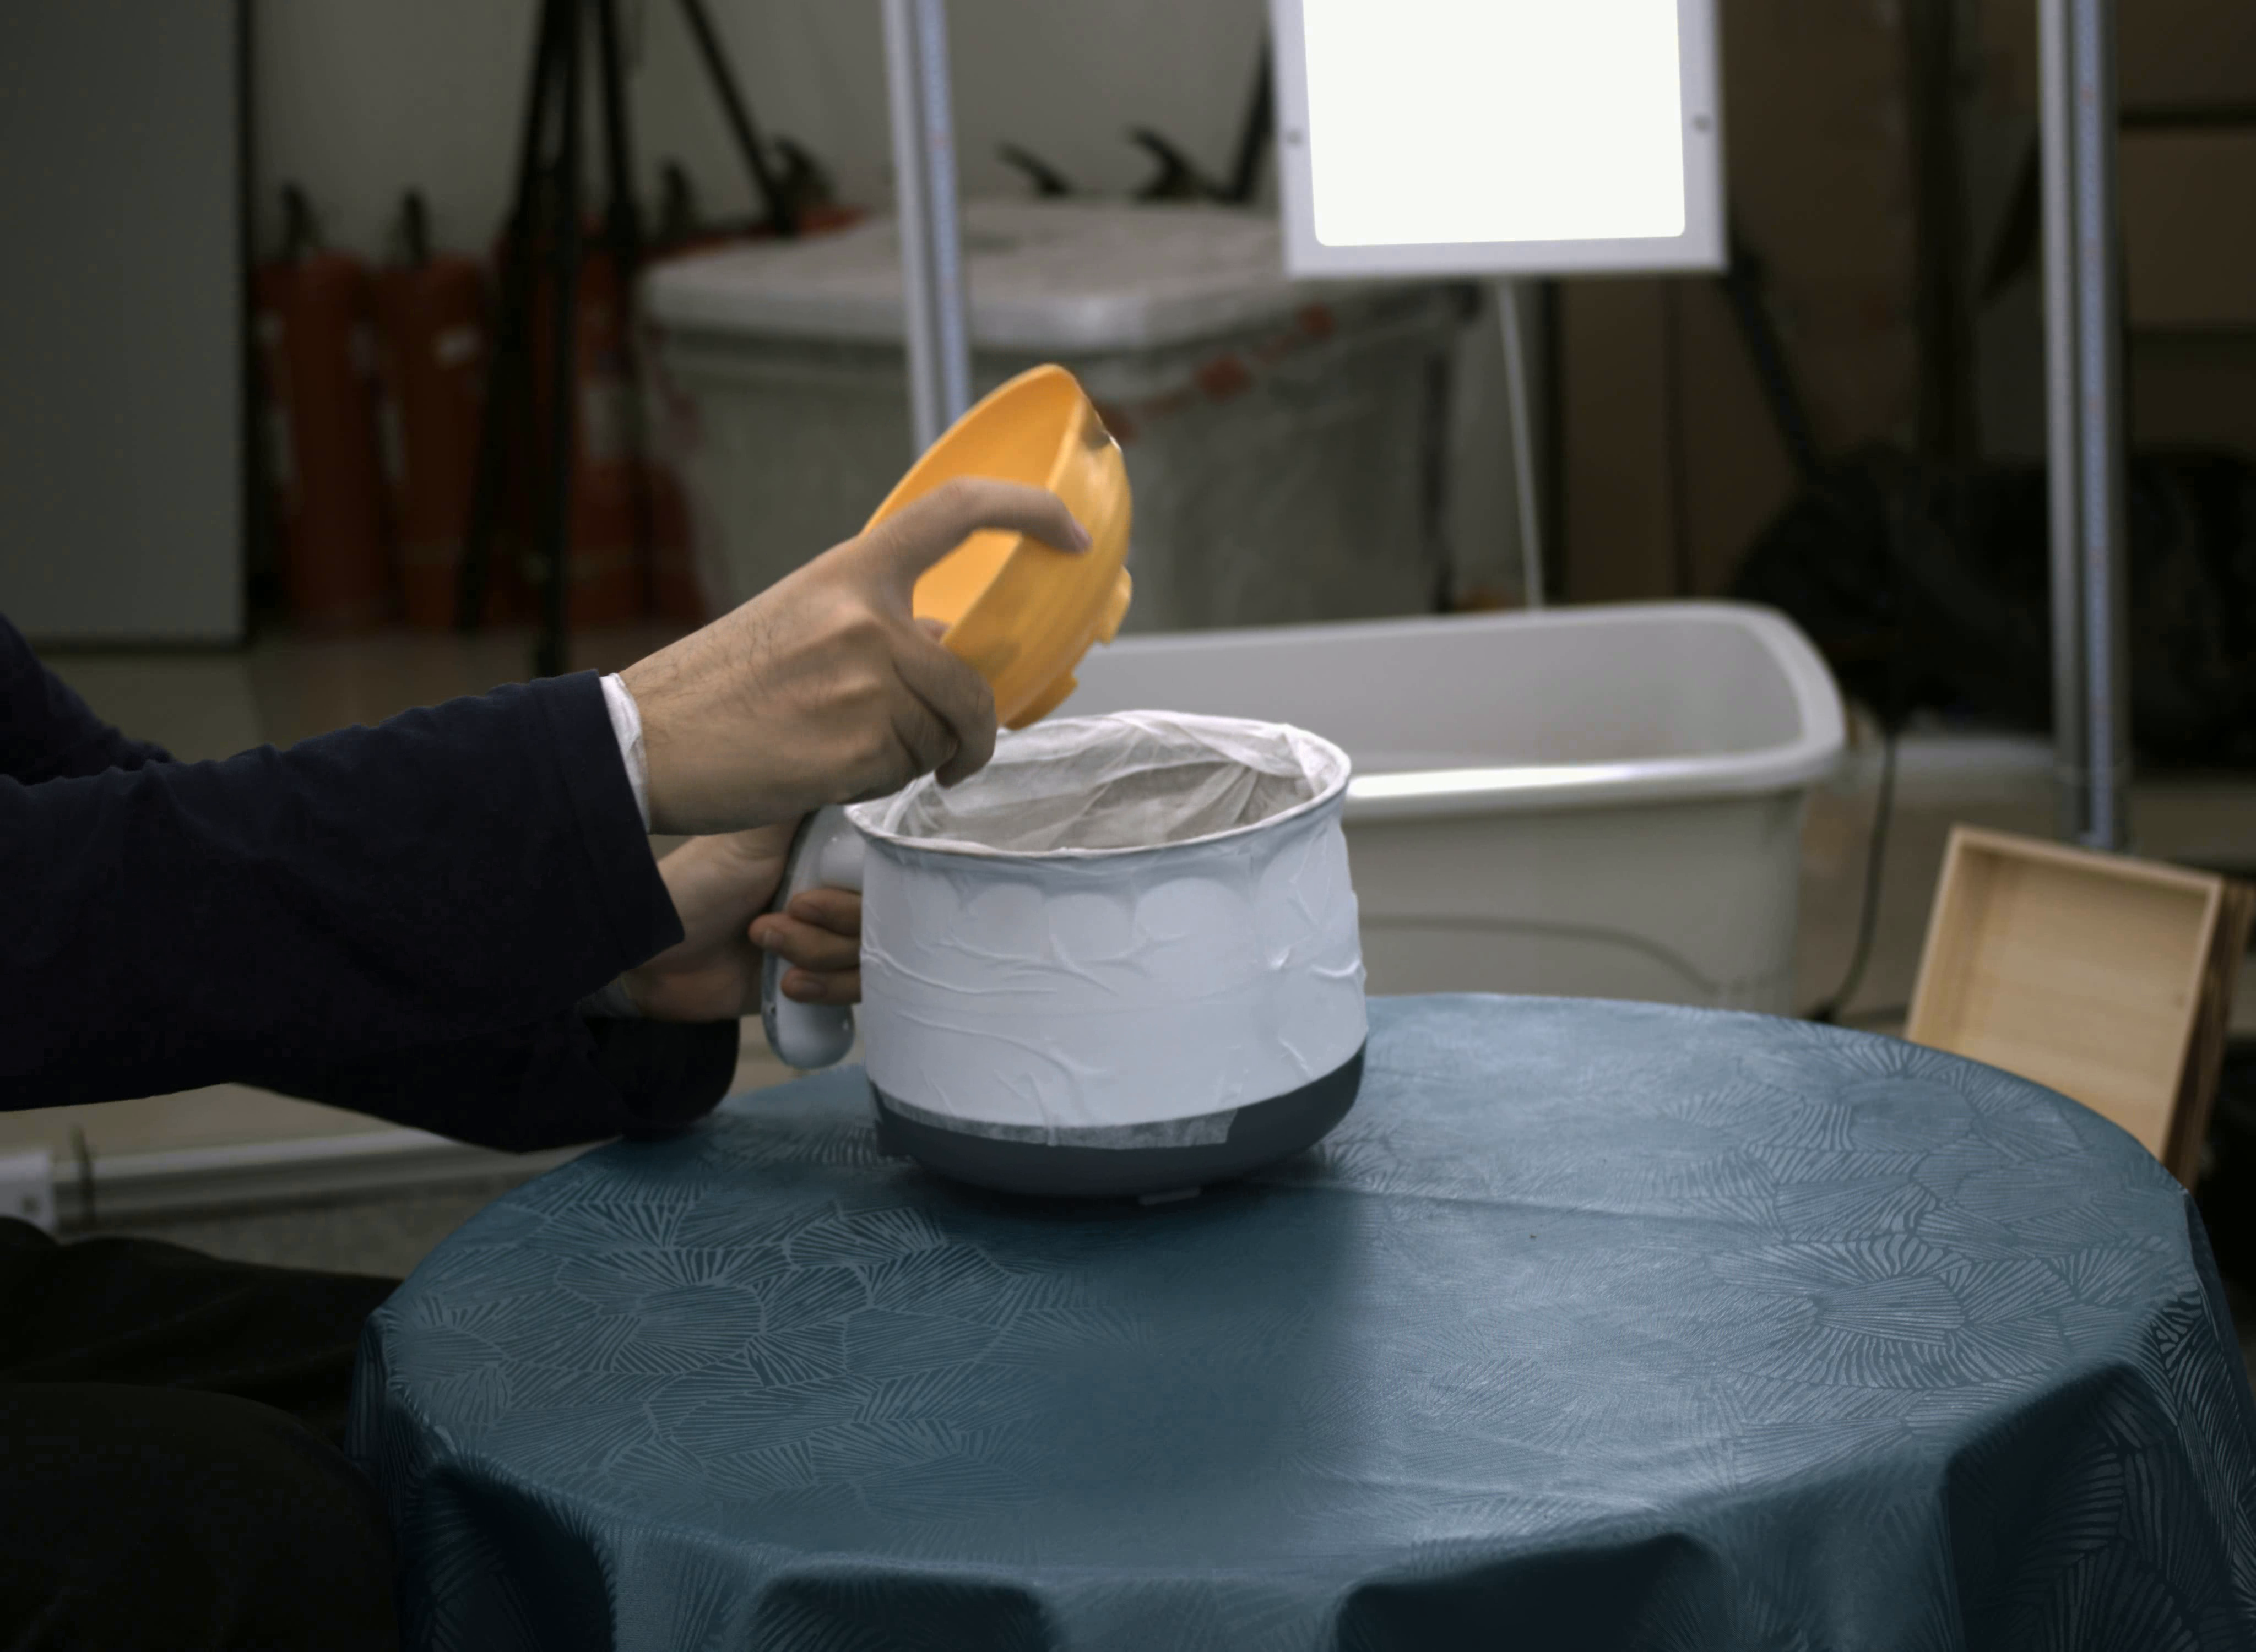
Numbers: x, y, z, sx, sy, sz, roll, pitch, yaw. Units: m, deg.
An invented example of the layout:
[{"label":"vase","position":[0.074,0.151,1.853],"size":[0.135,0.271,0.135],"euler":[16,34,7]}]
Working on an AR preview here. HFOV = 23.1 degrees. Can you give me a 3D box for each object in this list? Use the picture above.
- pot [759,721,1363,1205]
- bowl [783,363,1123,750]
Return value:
[{"label":"pot","position":[-0.031,0.044,1.936],"size":[0.238,0.137,0.174],"euler":[6,16,31]},{"label":"bowl","position":[-0.045,-0.075,1.781],"size":[0.059,0.146,0.146],"euler":[36,3,-18]}]
